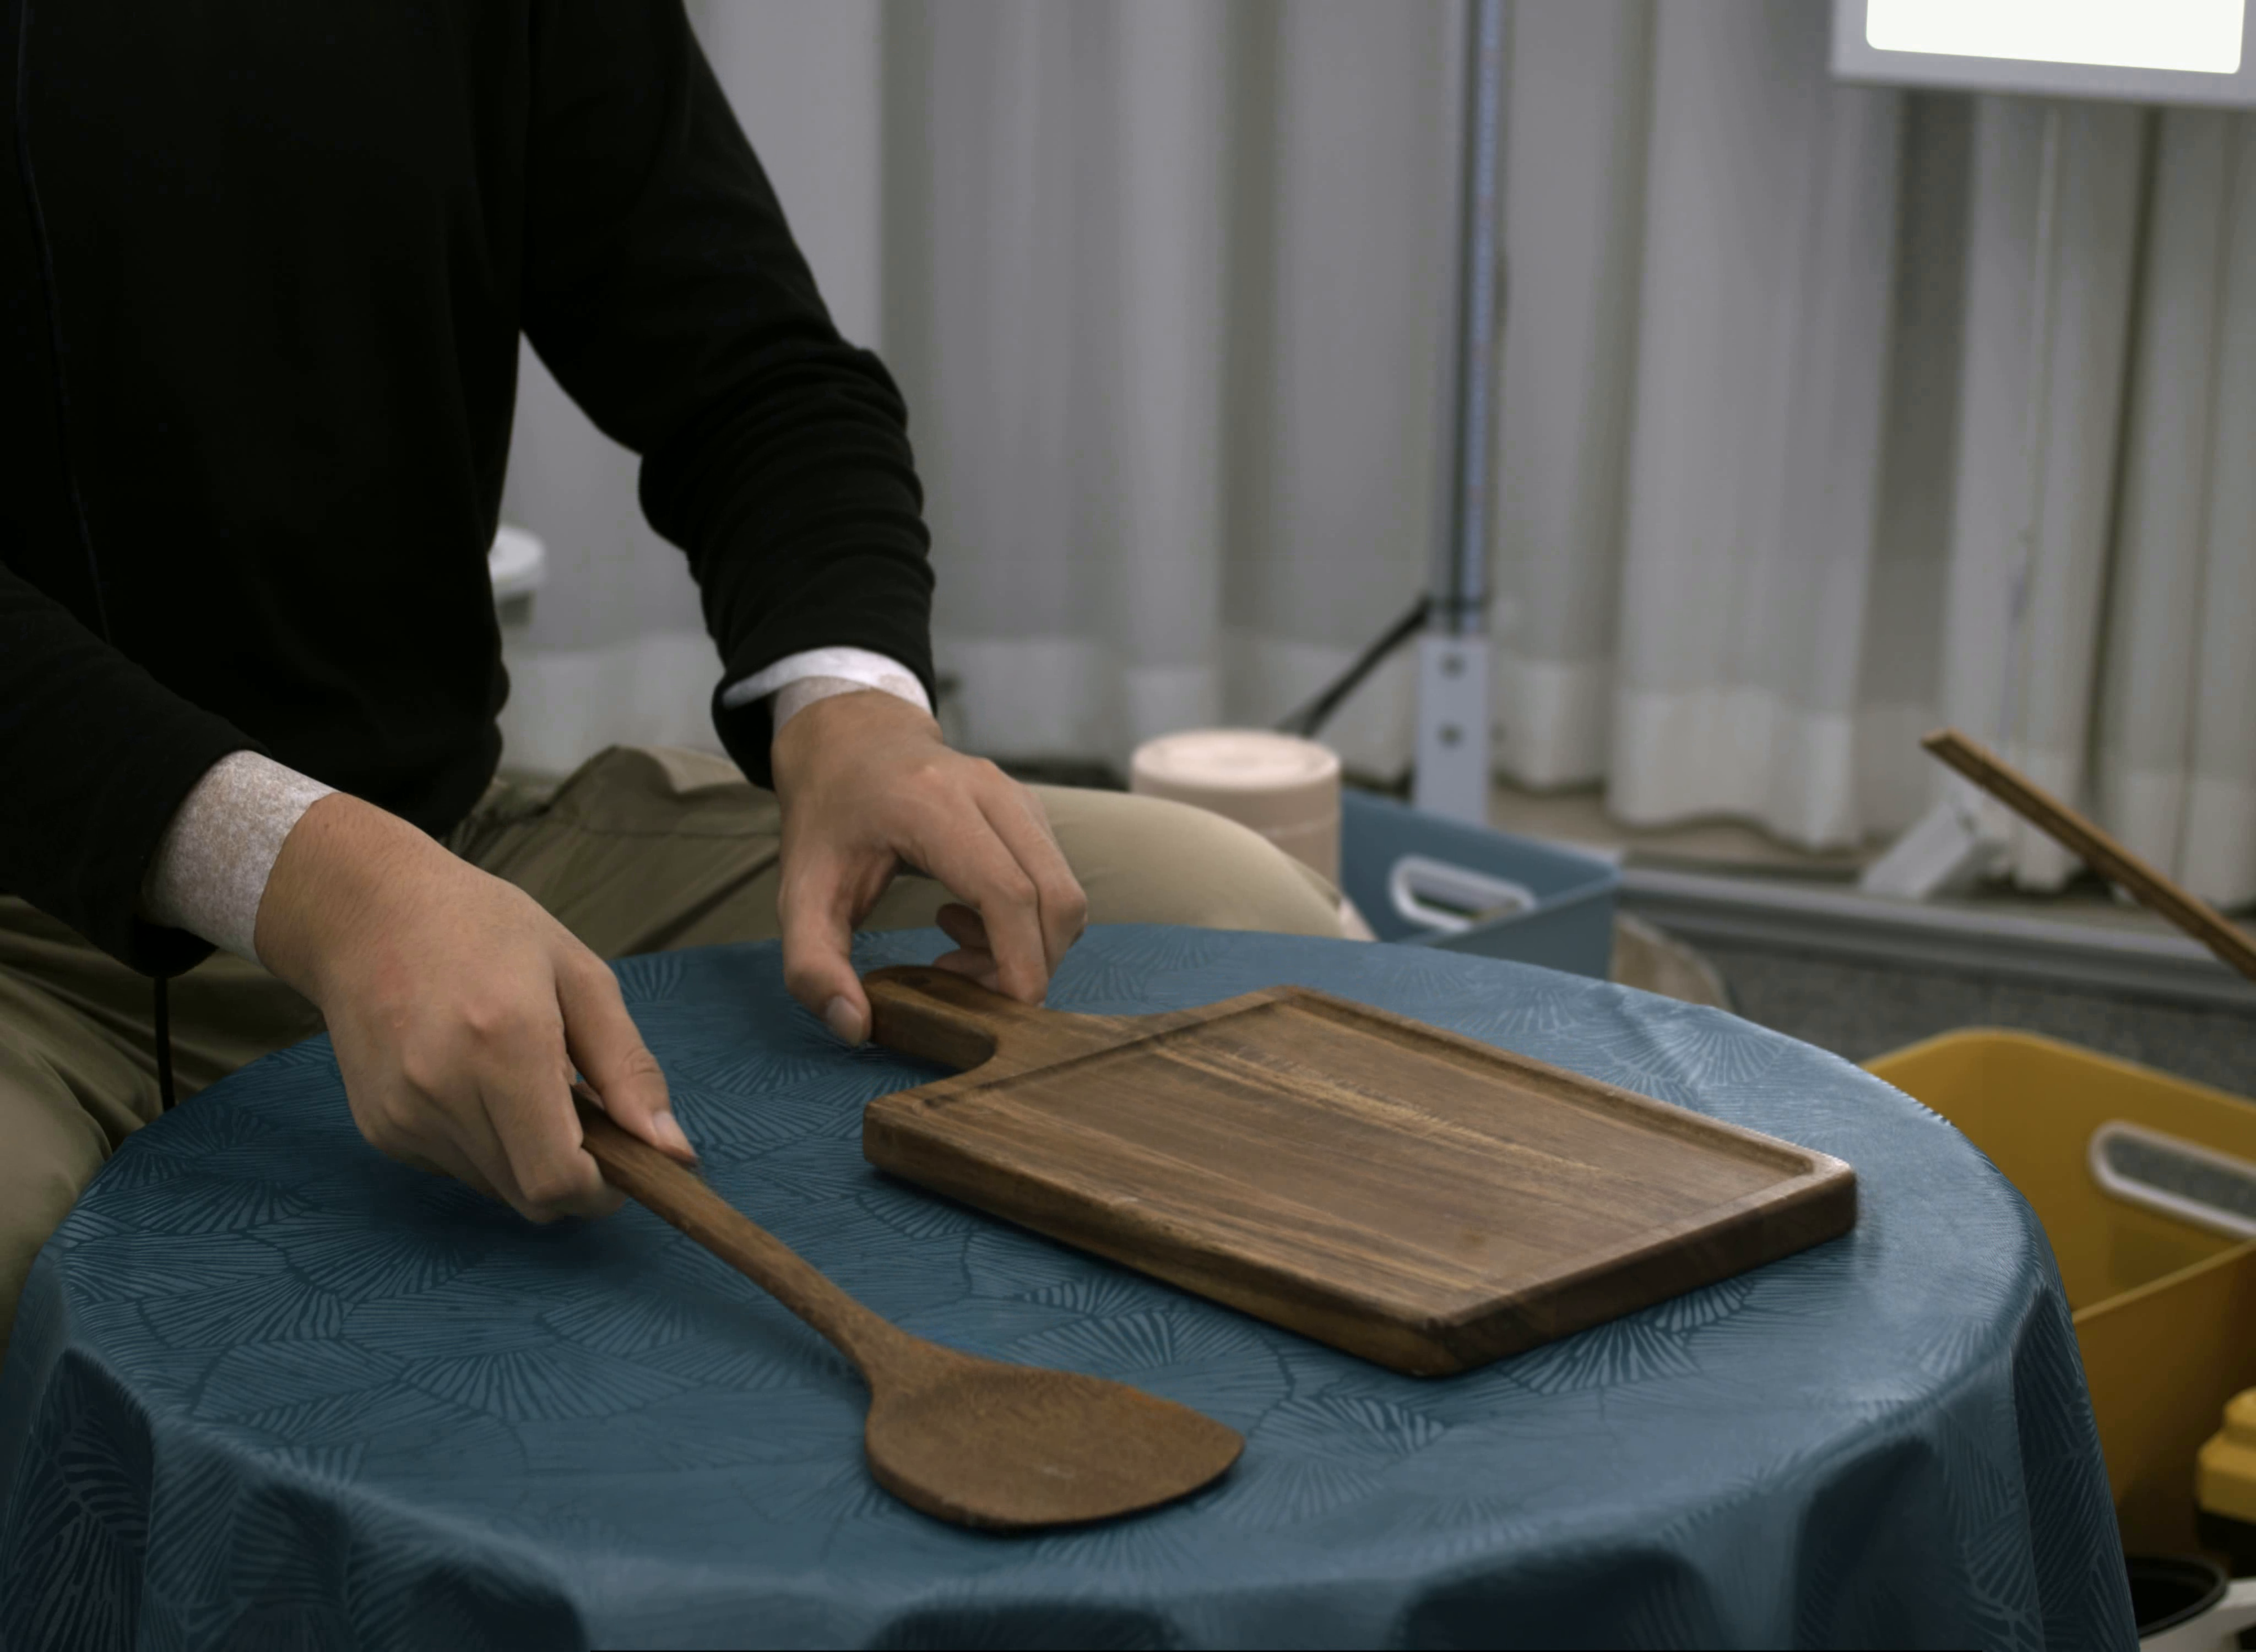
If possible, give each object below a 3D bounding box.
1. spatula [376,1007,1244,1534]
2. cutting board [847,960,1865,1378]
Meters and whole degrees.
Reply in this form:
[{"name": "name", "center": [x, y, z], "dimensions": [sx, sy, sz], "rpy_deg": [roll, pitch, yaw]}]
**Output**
[{"name": "spatula", "center": [-0.113, 0.119, 1.509], "dimensions": [0.096, 0.016, 0.380], "rpy_deg": [-11, 27, -37]}, {"name": "cutting board", "center": [0.036, 0.092, 1.645], "dimensions": [0.202, 0.023, 0.347], "rpy_deg": [-14, 22, -43]}]
